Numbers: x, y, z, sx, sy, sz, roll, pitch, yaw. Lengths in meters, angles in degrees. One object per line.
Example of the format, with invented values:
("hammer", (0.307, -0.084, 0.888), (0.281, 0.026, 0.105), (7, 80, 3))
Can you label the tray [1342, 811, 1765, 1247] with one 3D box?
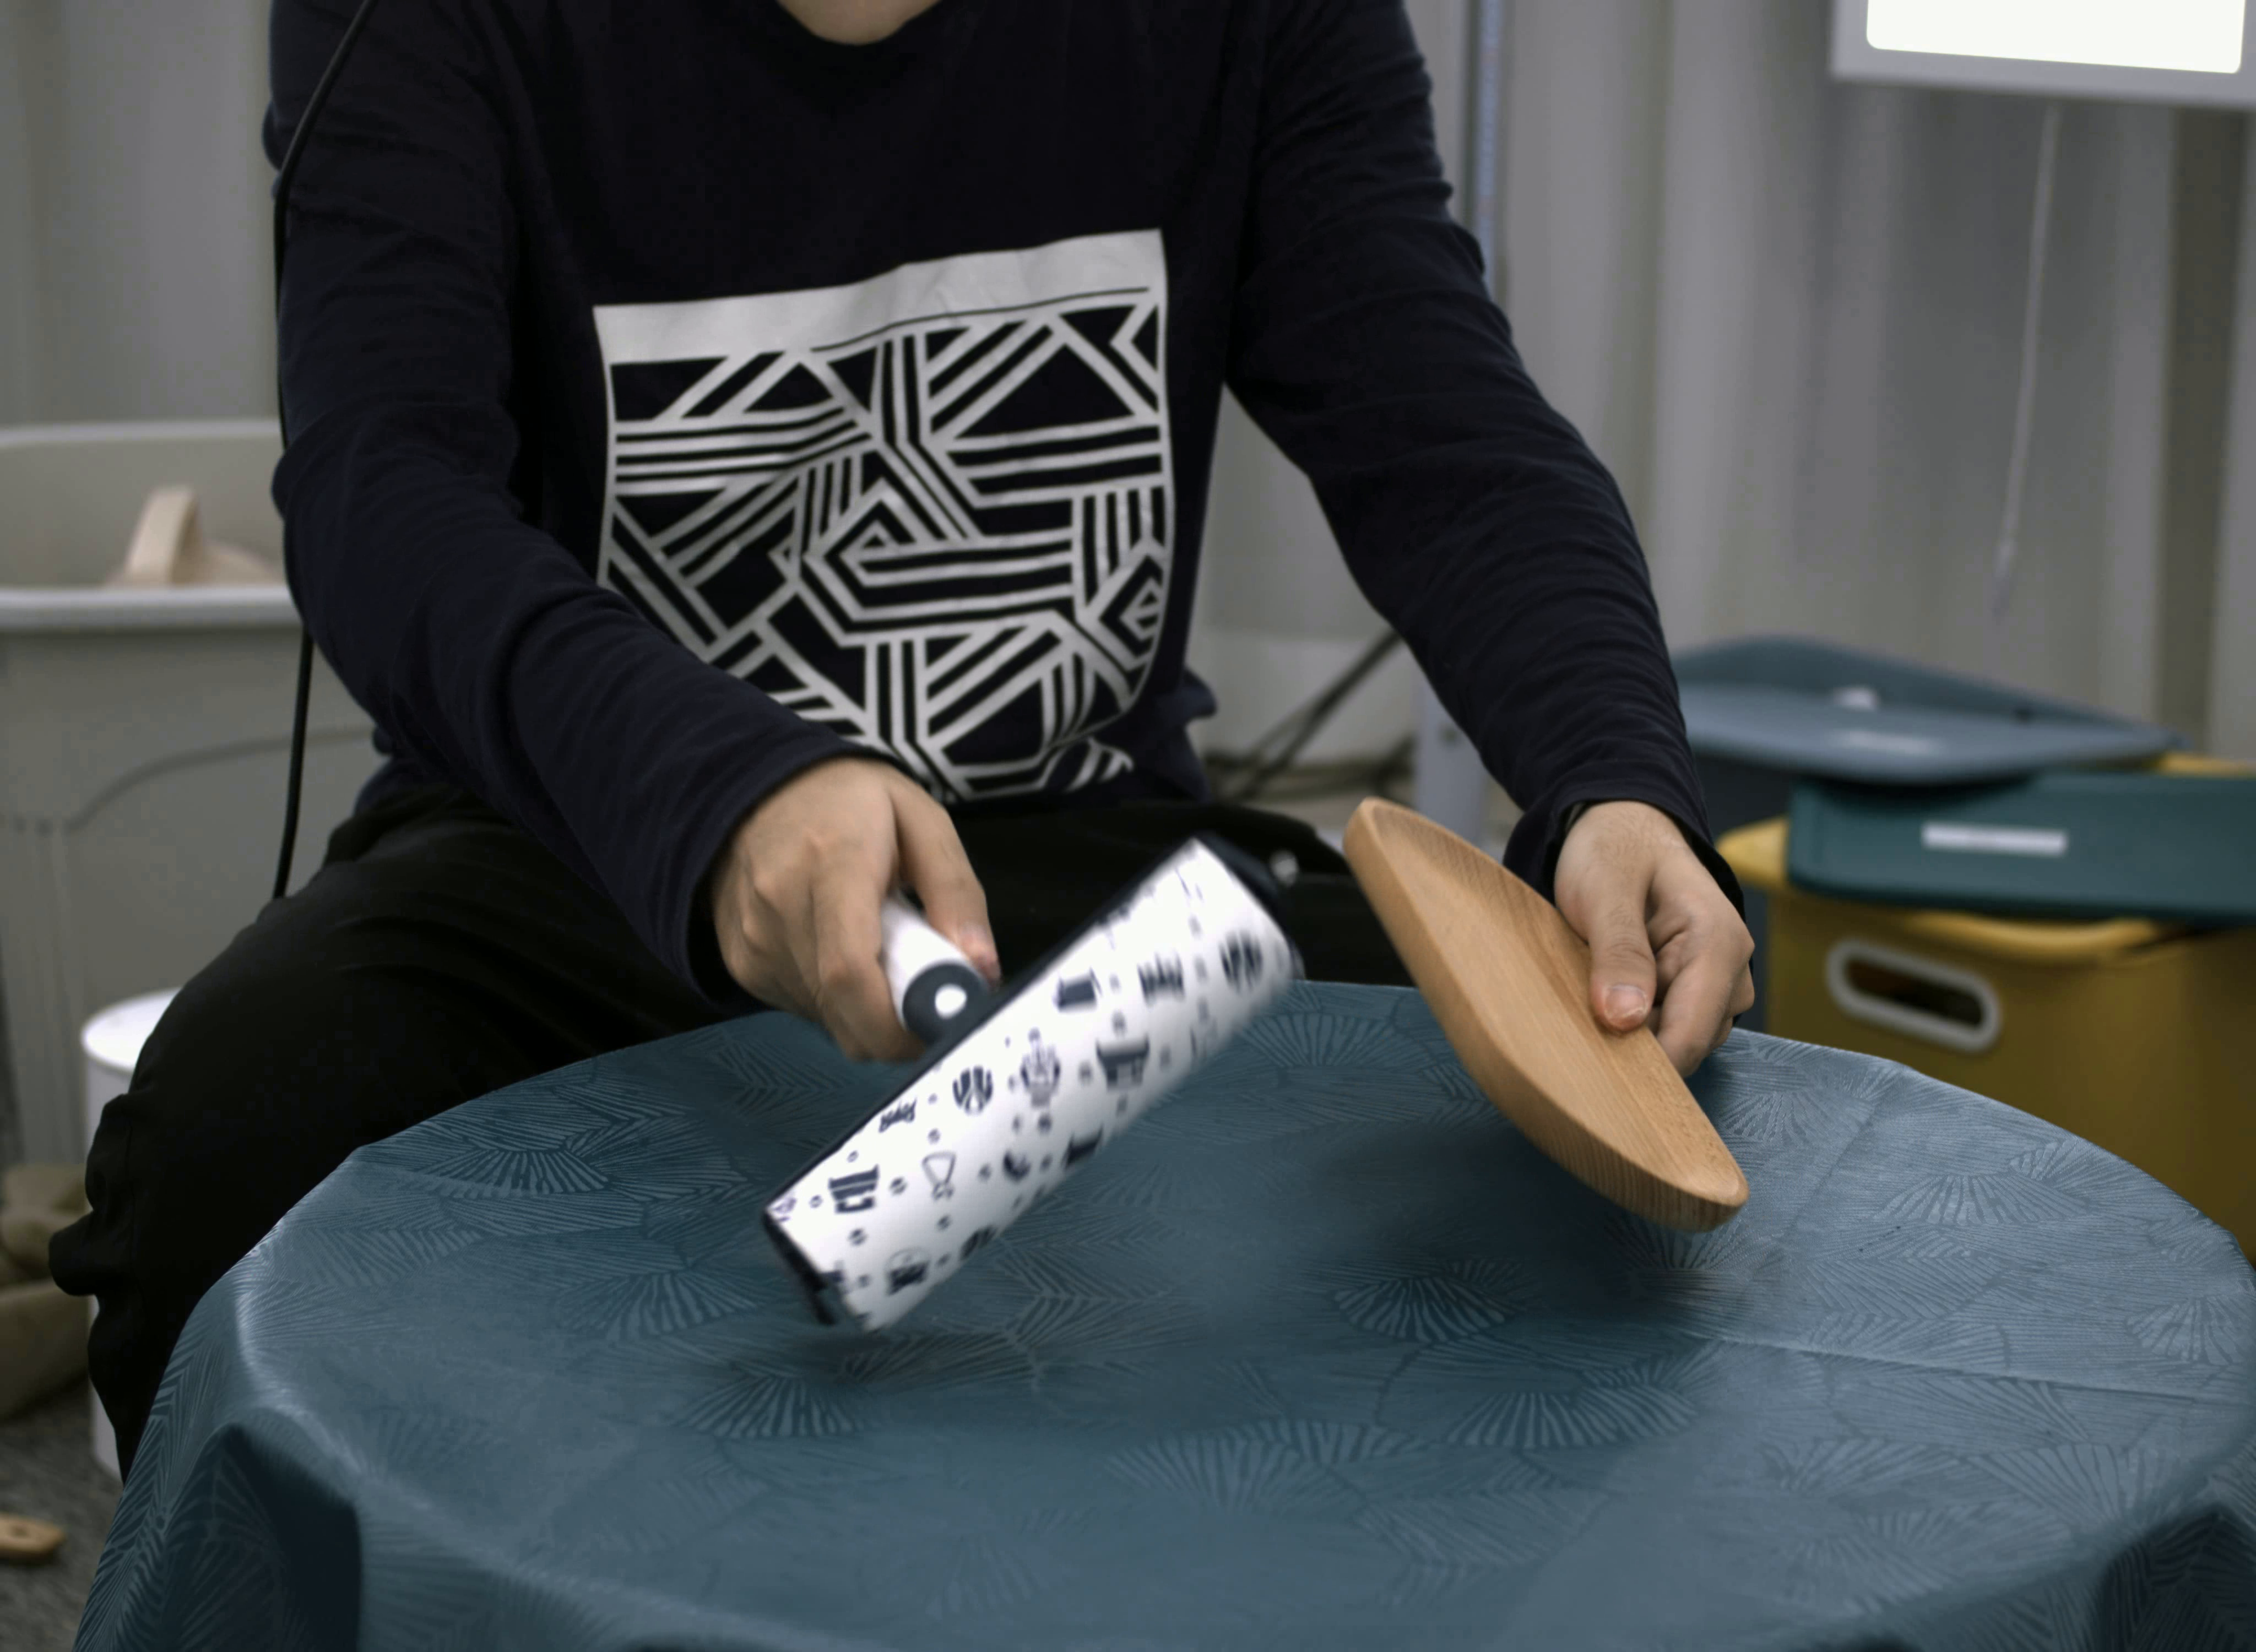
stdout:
("tray", (0.125, 0.060, 1.596), (0.102, 0.020, 0.228), (27, 18, -25))

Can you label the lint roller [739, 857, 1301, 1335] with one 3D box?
("lint roller", (-0.059, 0.053, 1.562), (0.176, 0.051, 0.244), (-38, 22, -7))
